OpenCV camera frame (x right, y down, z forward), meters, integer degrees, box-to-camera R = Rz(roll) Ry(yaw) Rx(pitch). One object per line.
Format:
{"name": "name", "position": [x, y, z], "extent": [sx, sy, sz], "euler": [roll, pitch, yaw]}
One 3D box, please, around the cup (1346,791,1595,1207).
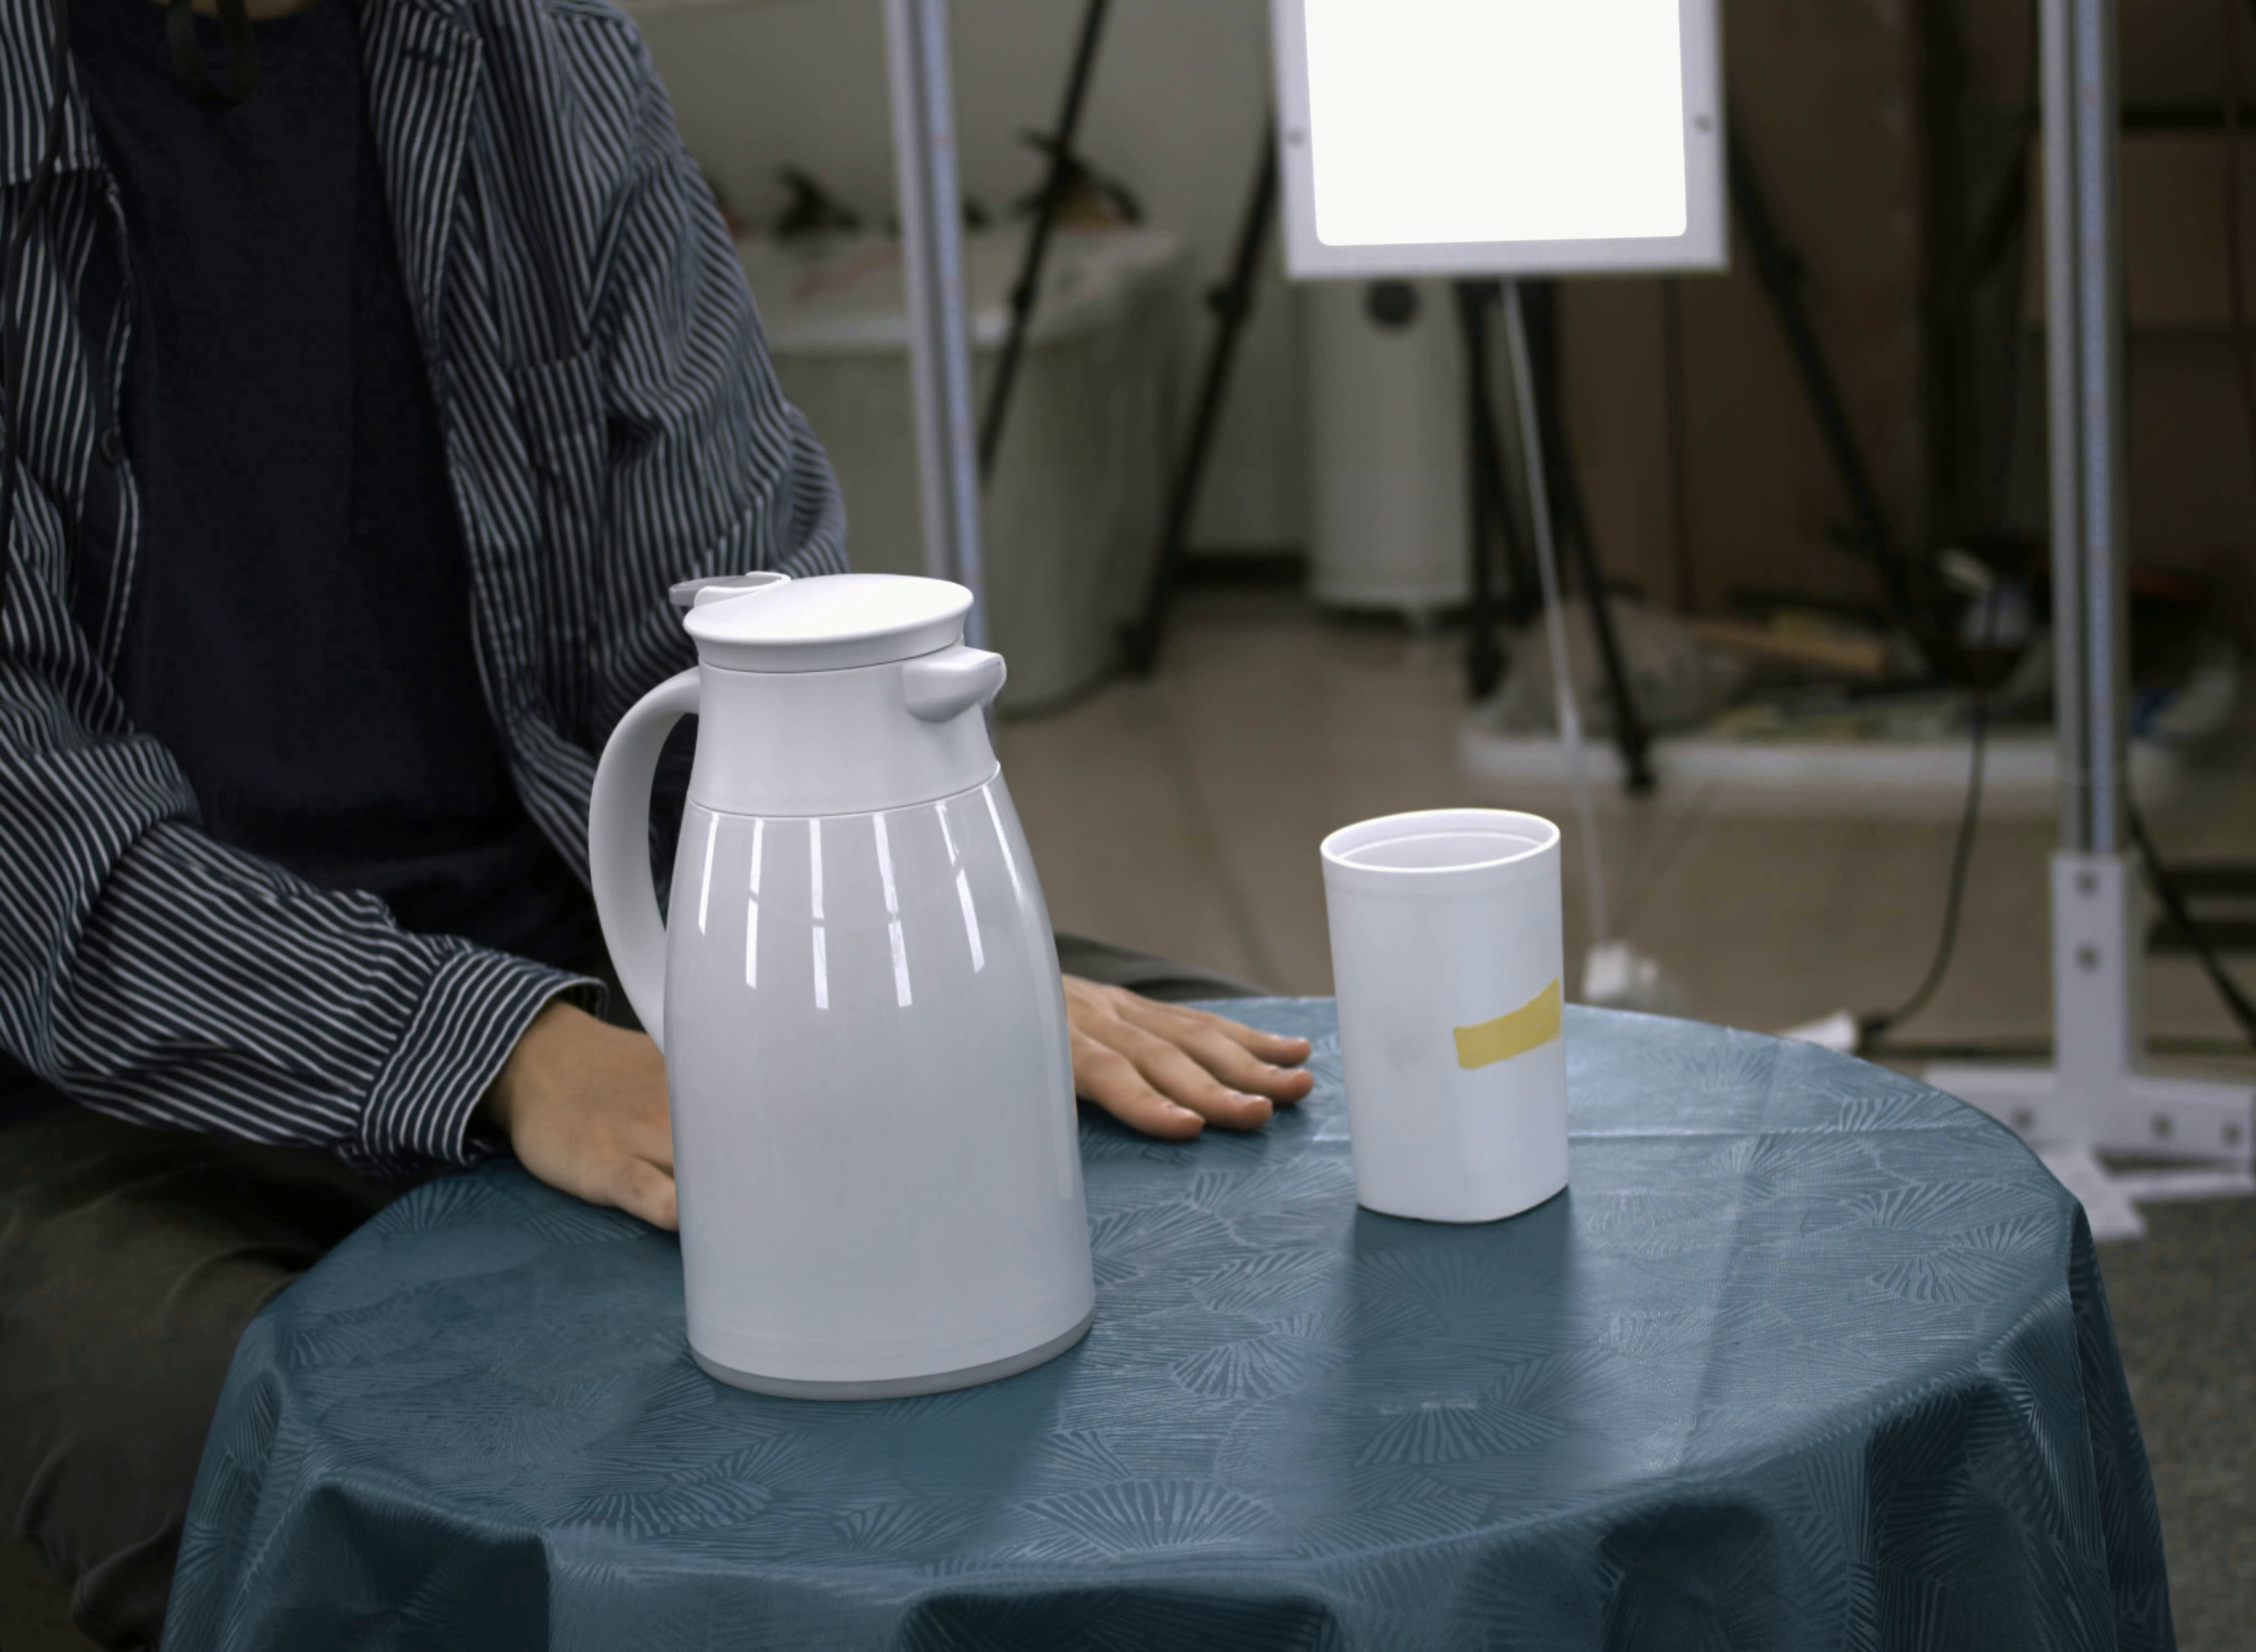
{"name": "cup", "position": [0.119, 0.058, 1.853], "extent": [0.081, 0.126, 0.081], "euler": [-5, 14, 0]}

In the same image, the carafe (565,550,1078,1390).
{"name": "carafe", "position": [-0.104, 0.037, 1.752], "extent": [0.171, 0.249, 0.129], "euler": [6, 19, 31]}
